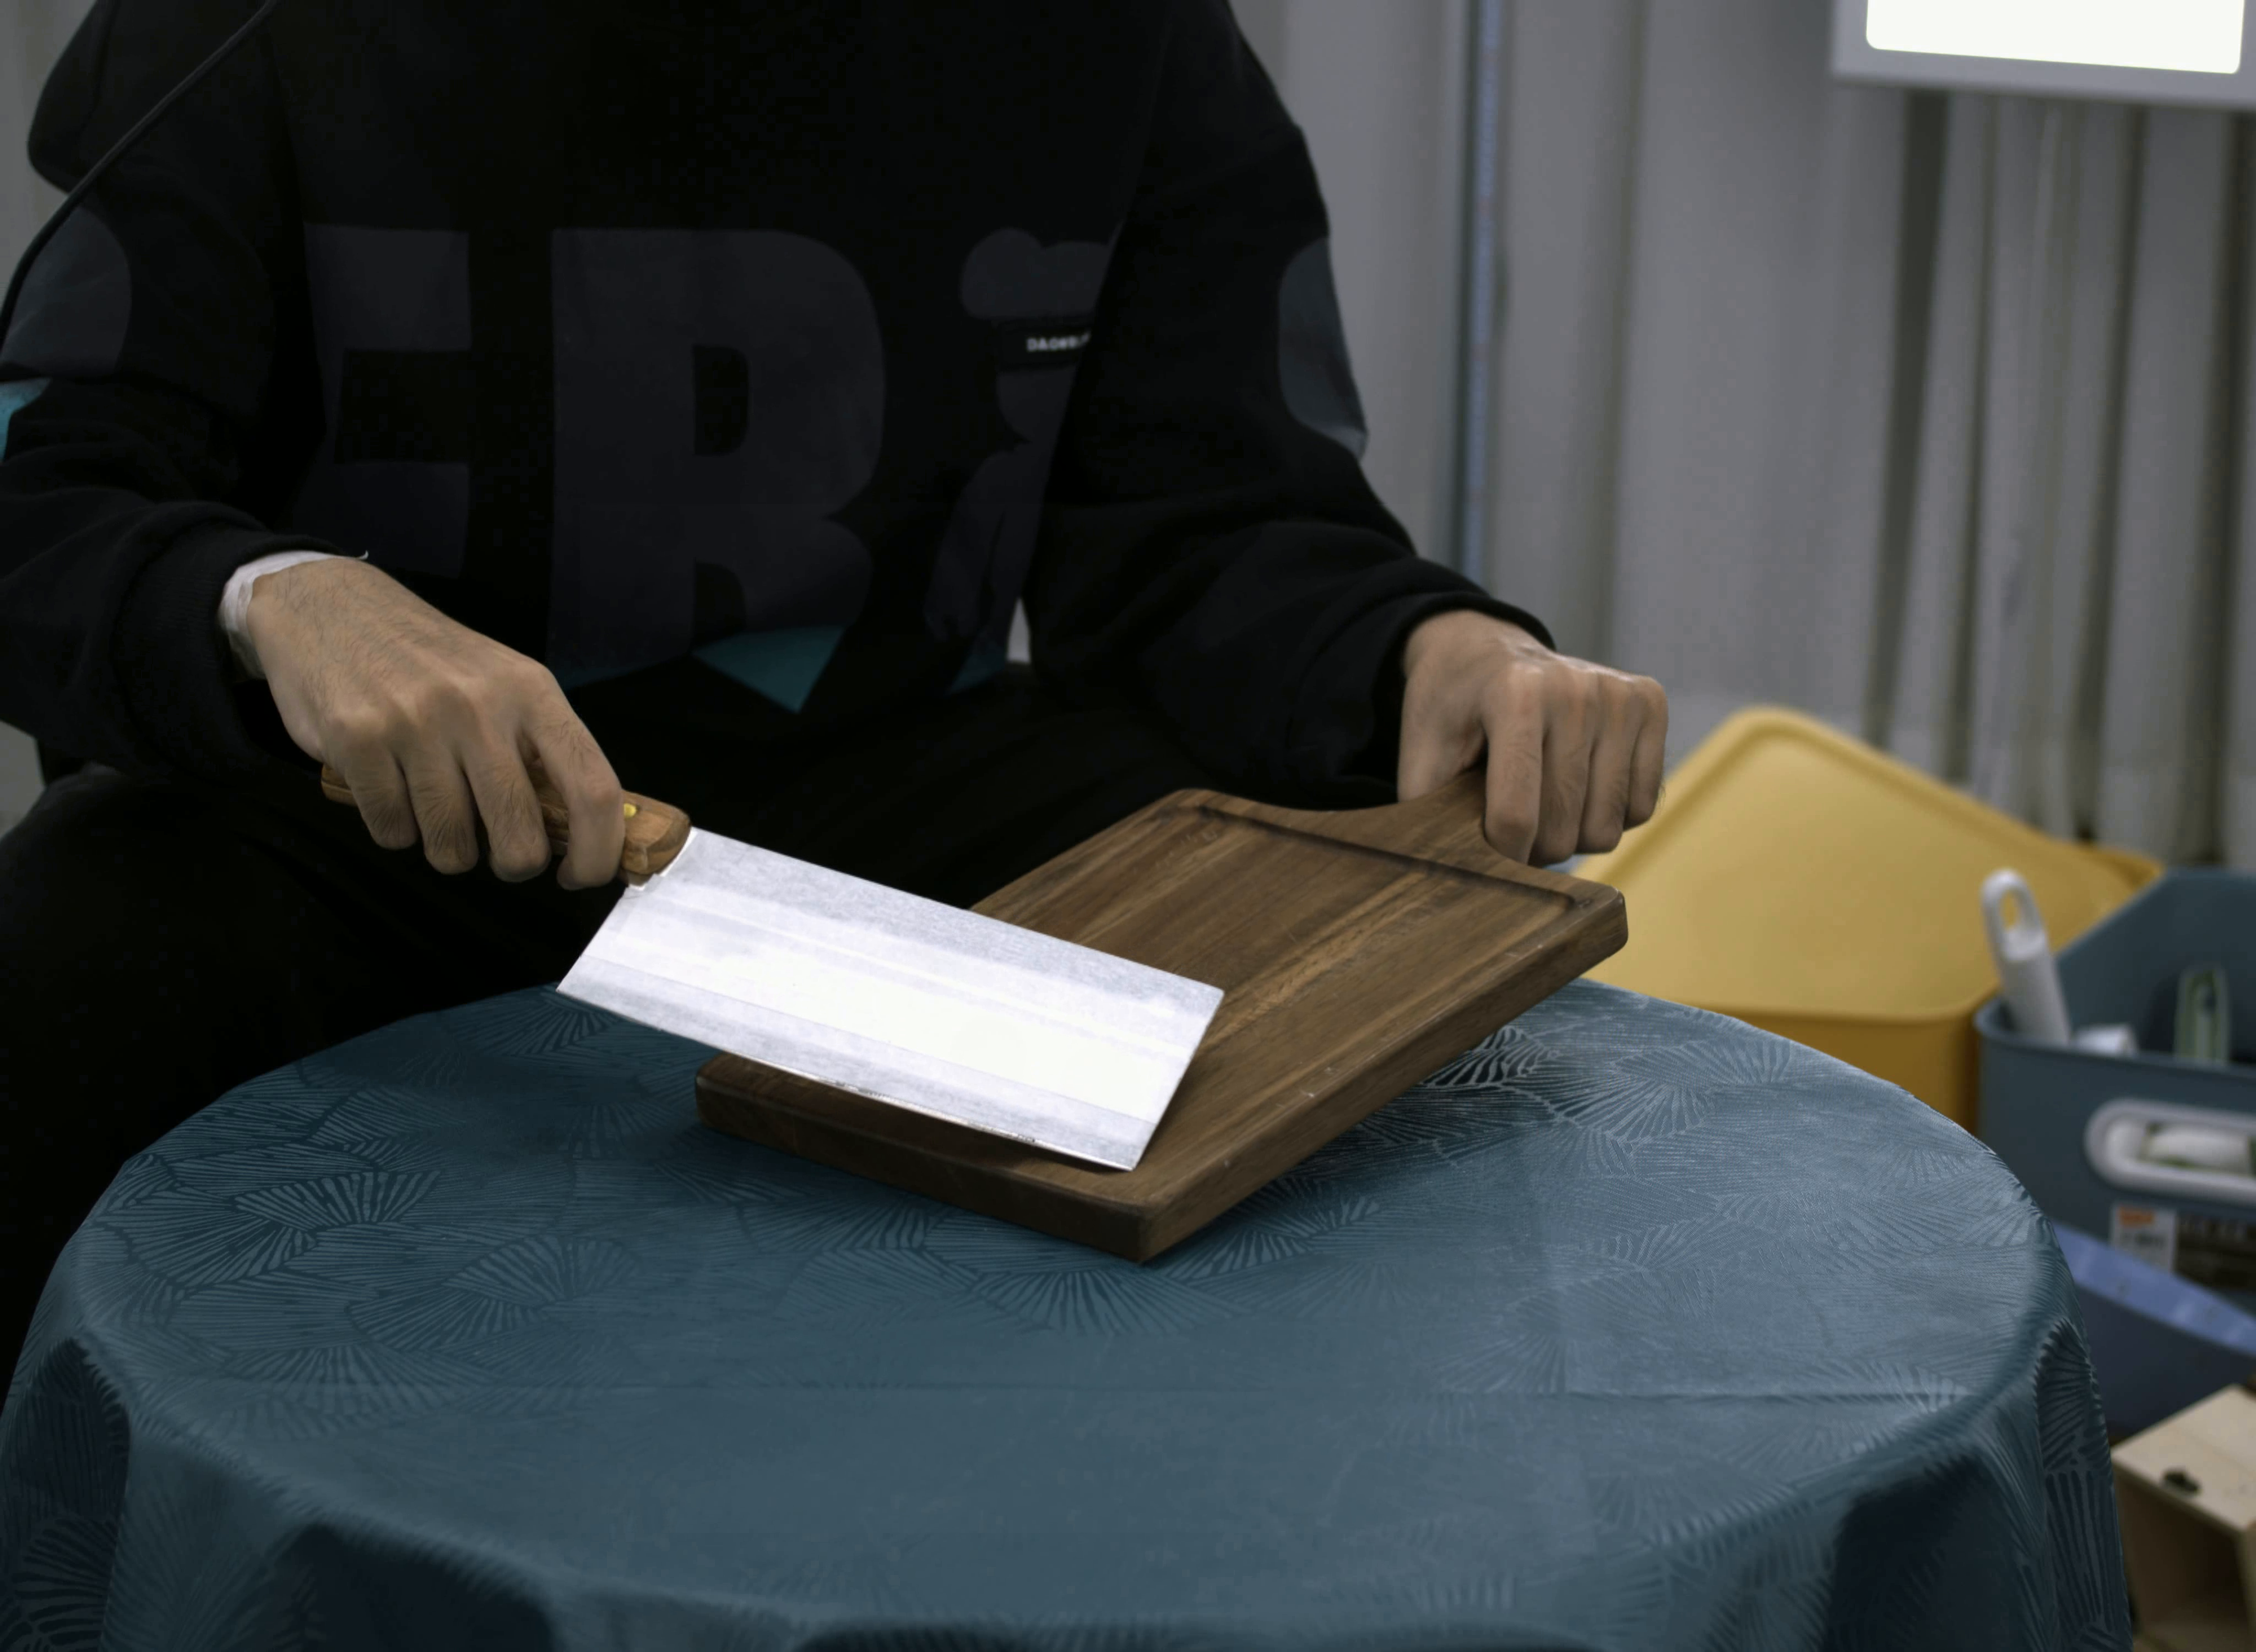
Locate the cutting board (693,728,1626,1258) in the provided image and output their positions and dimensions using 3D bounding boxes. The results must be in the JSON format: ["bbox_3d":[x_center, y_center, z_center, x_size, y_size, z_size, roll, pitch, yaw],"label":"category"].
[{"bbox_3d":[0.044,0.040,1.731,0.198,0.023,0.353,13,30,39],"label":"cutting board"}]

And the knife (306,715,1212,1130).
[{"bbox_3d":[-0.126,0.033,1.642,0.304,0.021,0.092,17,42,10],"label":"knife"}]
